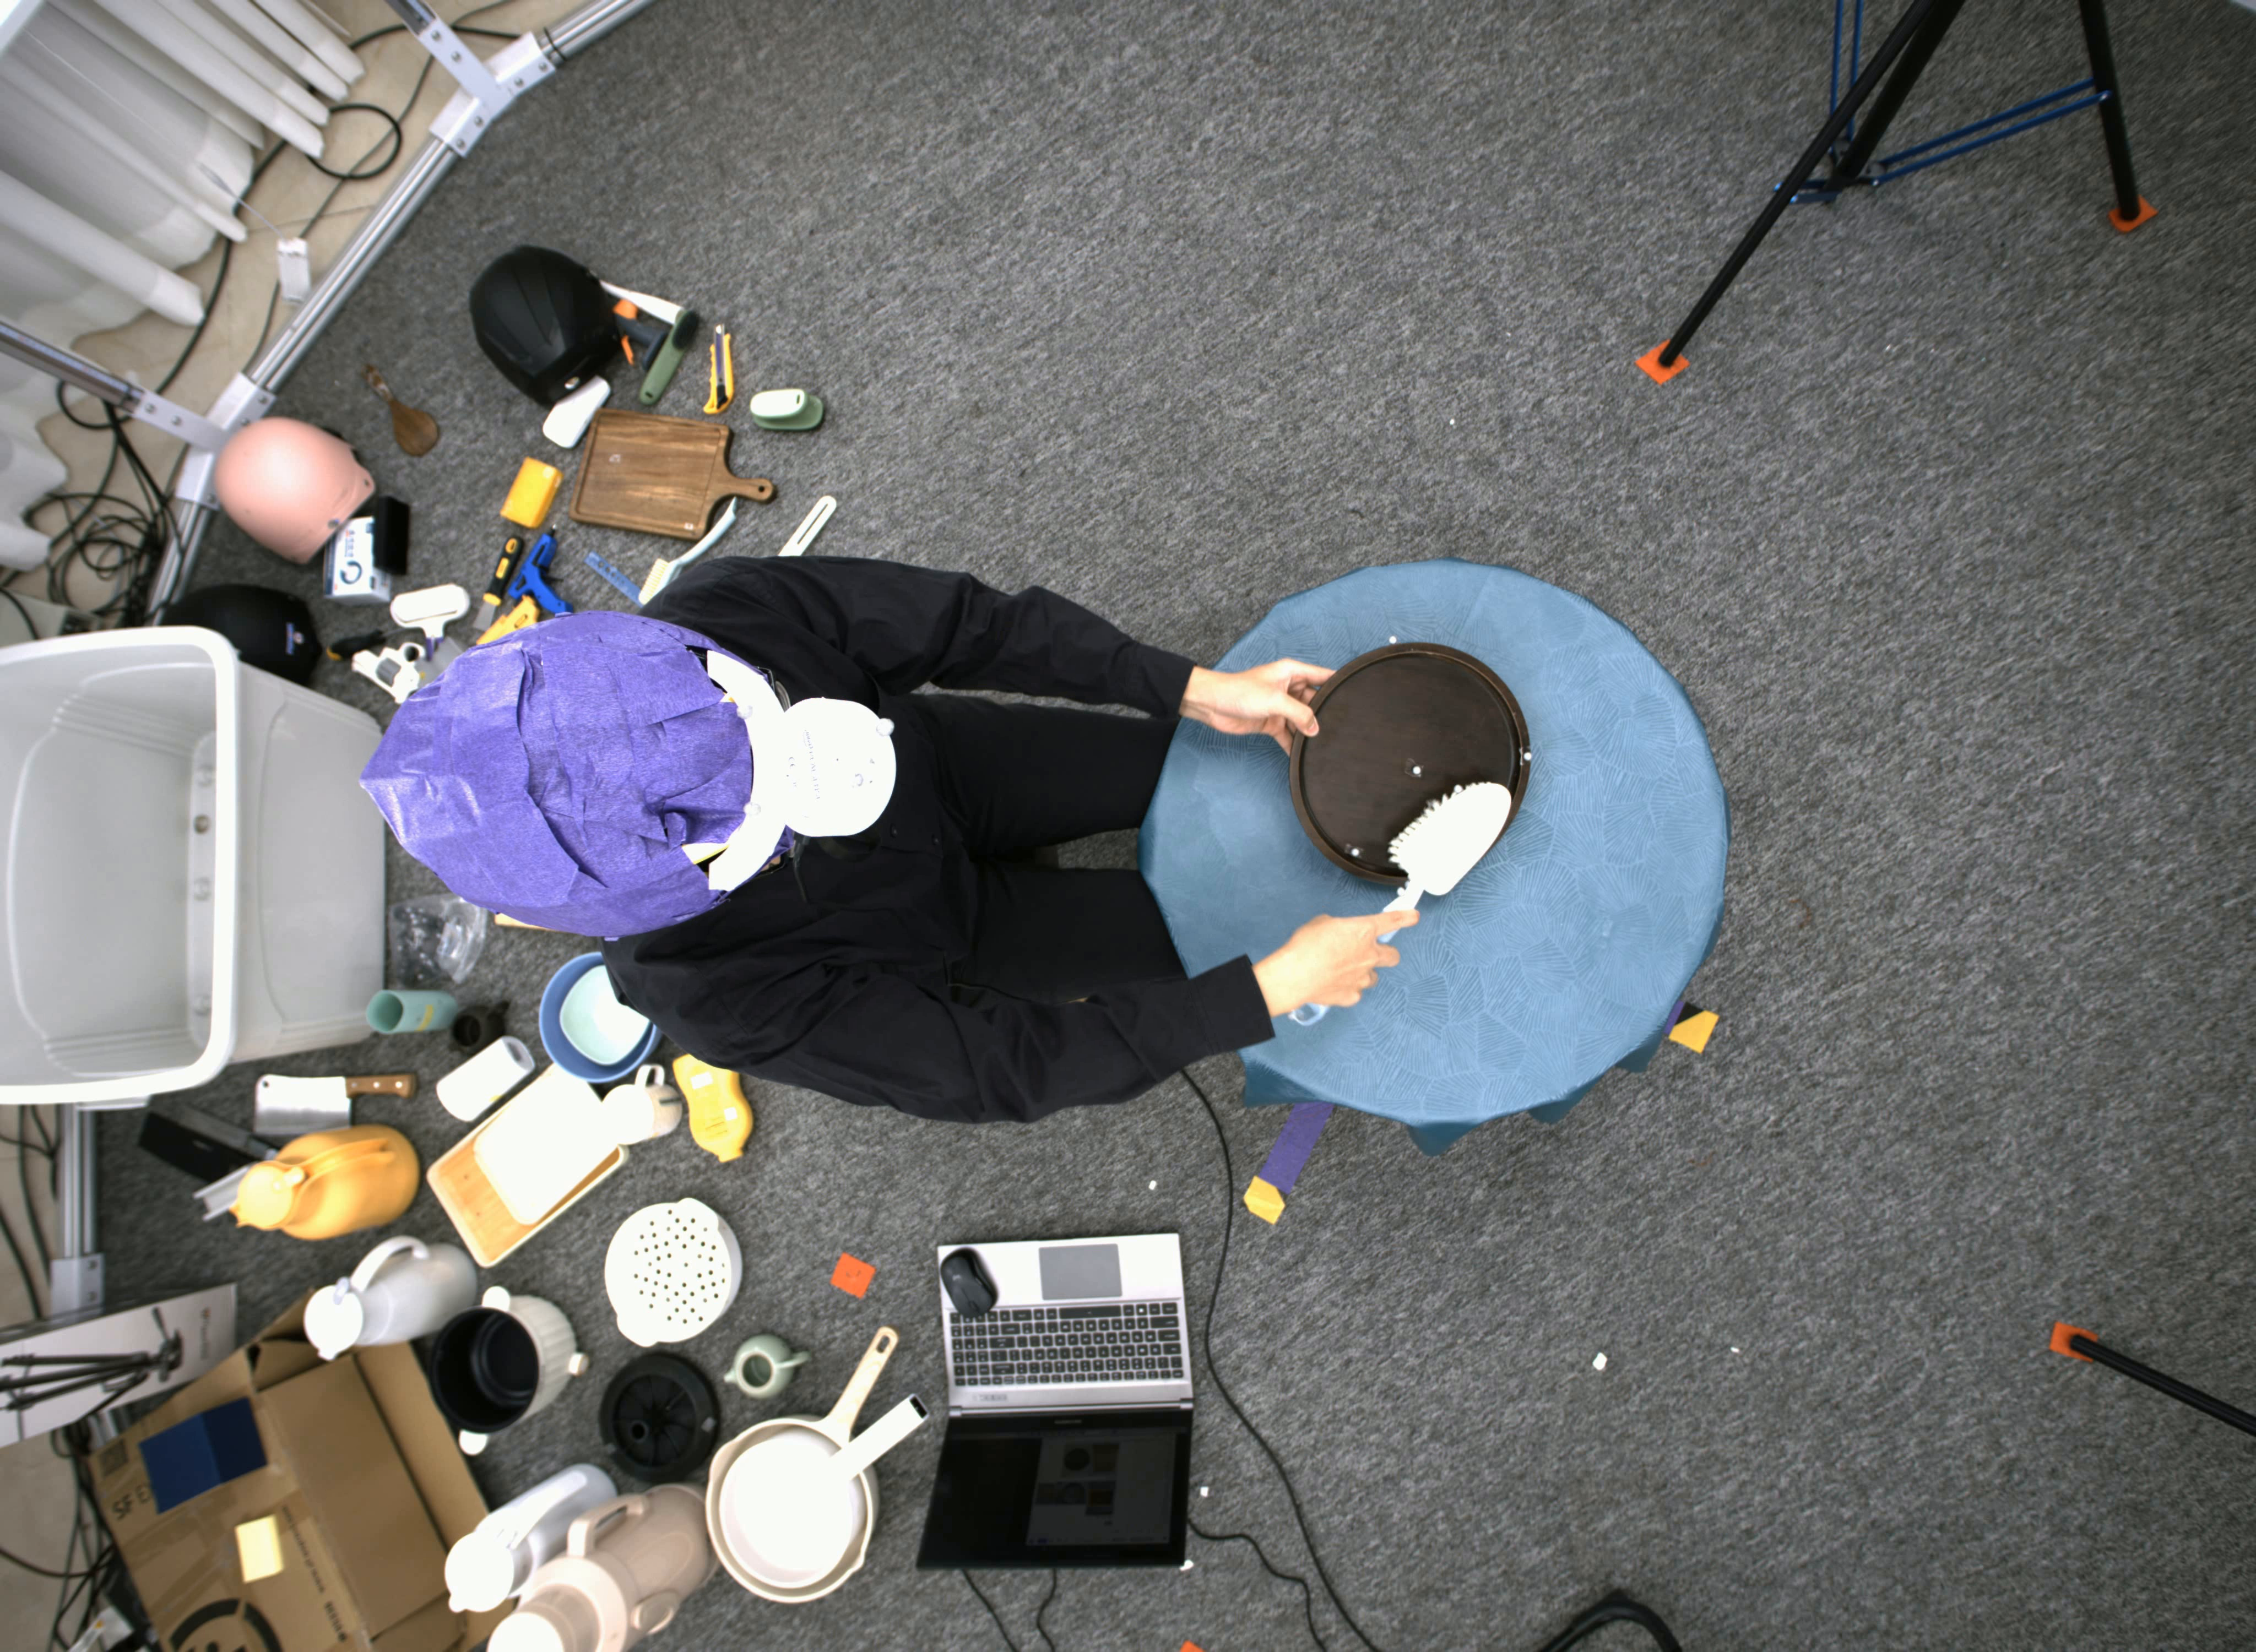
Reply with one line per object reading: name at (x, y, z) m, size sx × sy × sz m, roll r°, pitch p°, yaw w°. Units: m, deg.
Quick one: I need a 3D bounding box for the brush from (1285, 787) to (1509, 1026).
brush at (0.259, 0.074, 1.386) m, size 0.323 × 0.086 × 0.082 m, roll -45°, pitch 59°, yaw -10°

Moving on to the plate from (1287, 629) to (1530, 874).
plate at (0.285, -0.076, 1.399) m, size 0.255 × 0.028 × 0.258 m, roll -1°, pitch 108°, yaw -4°
